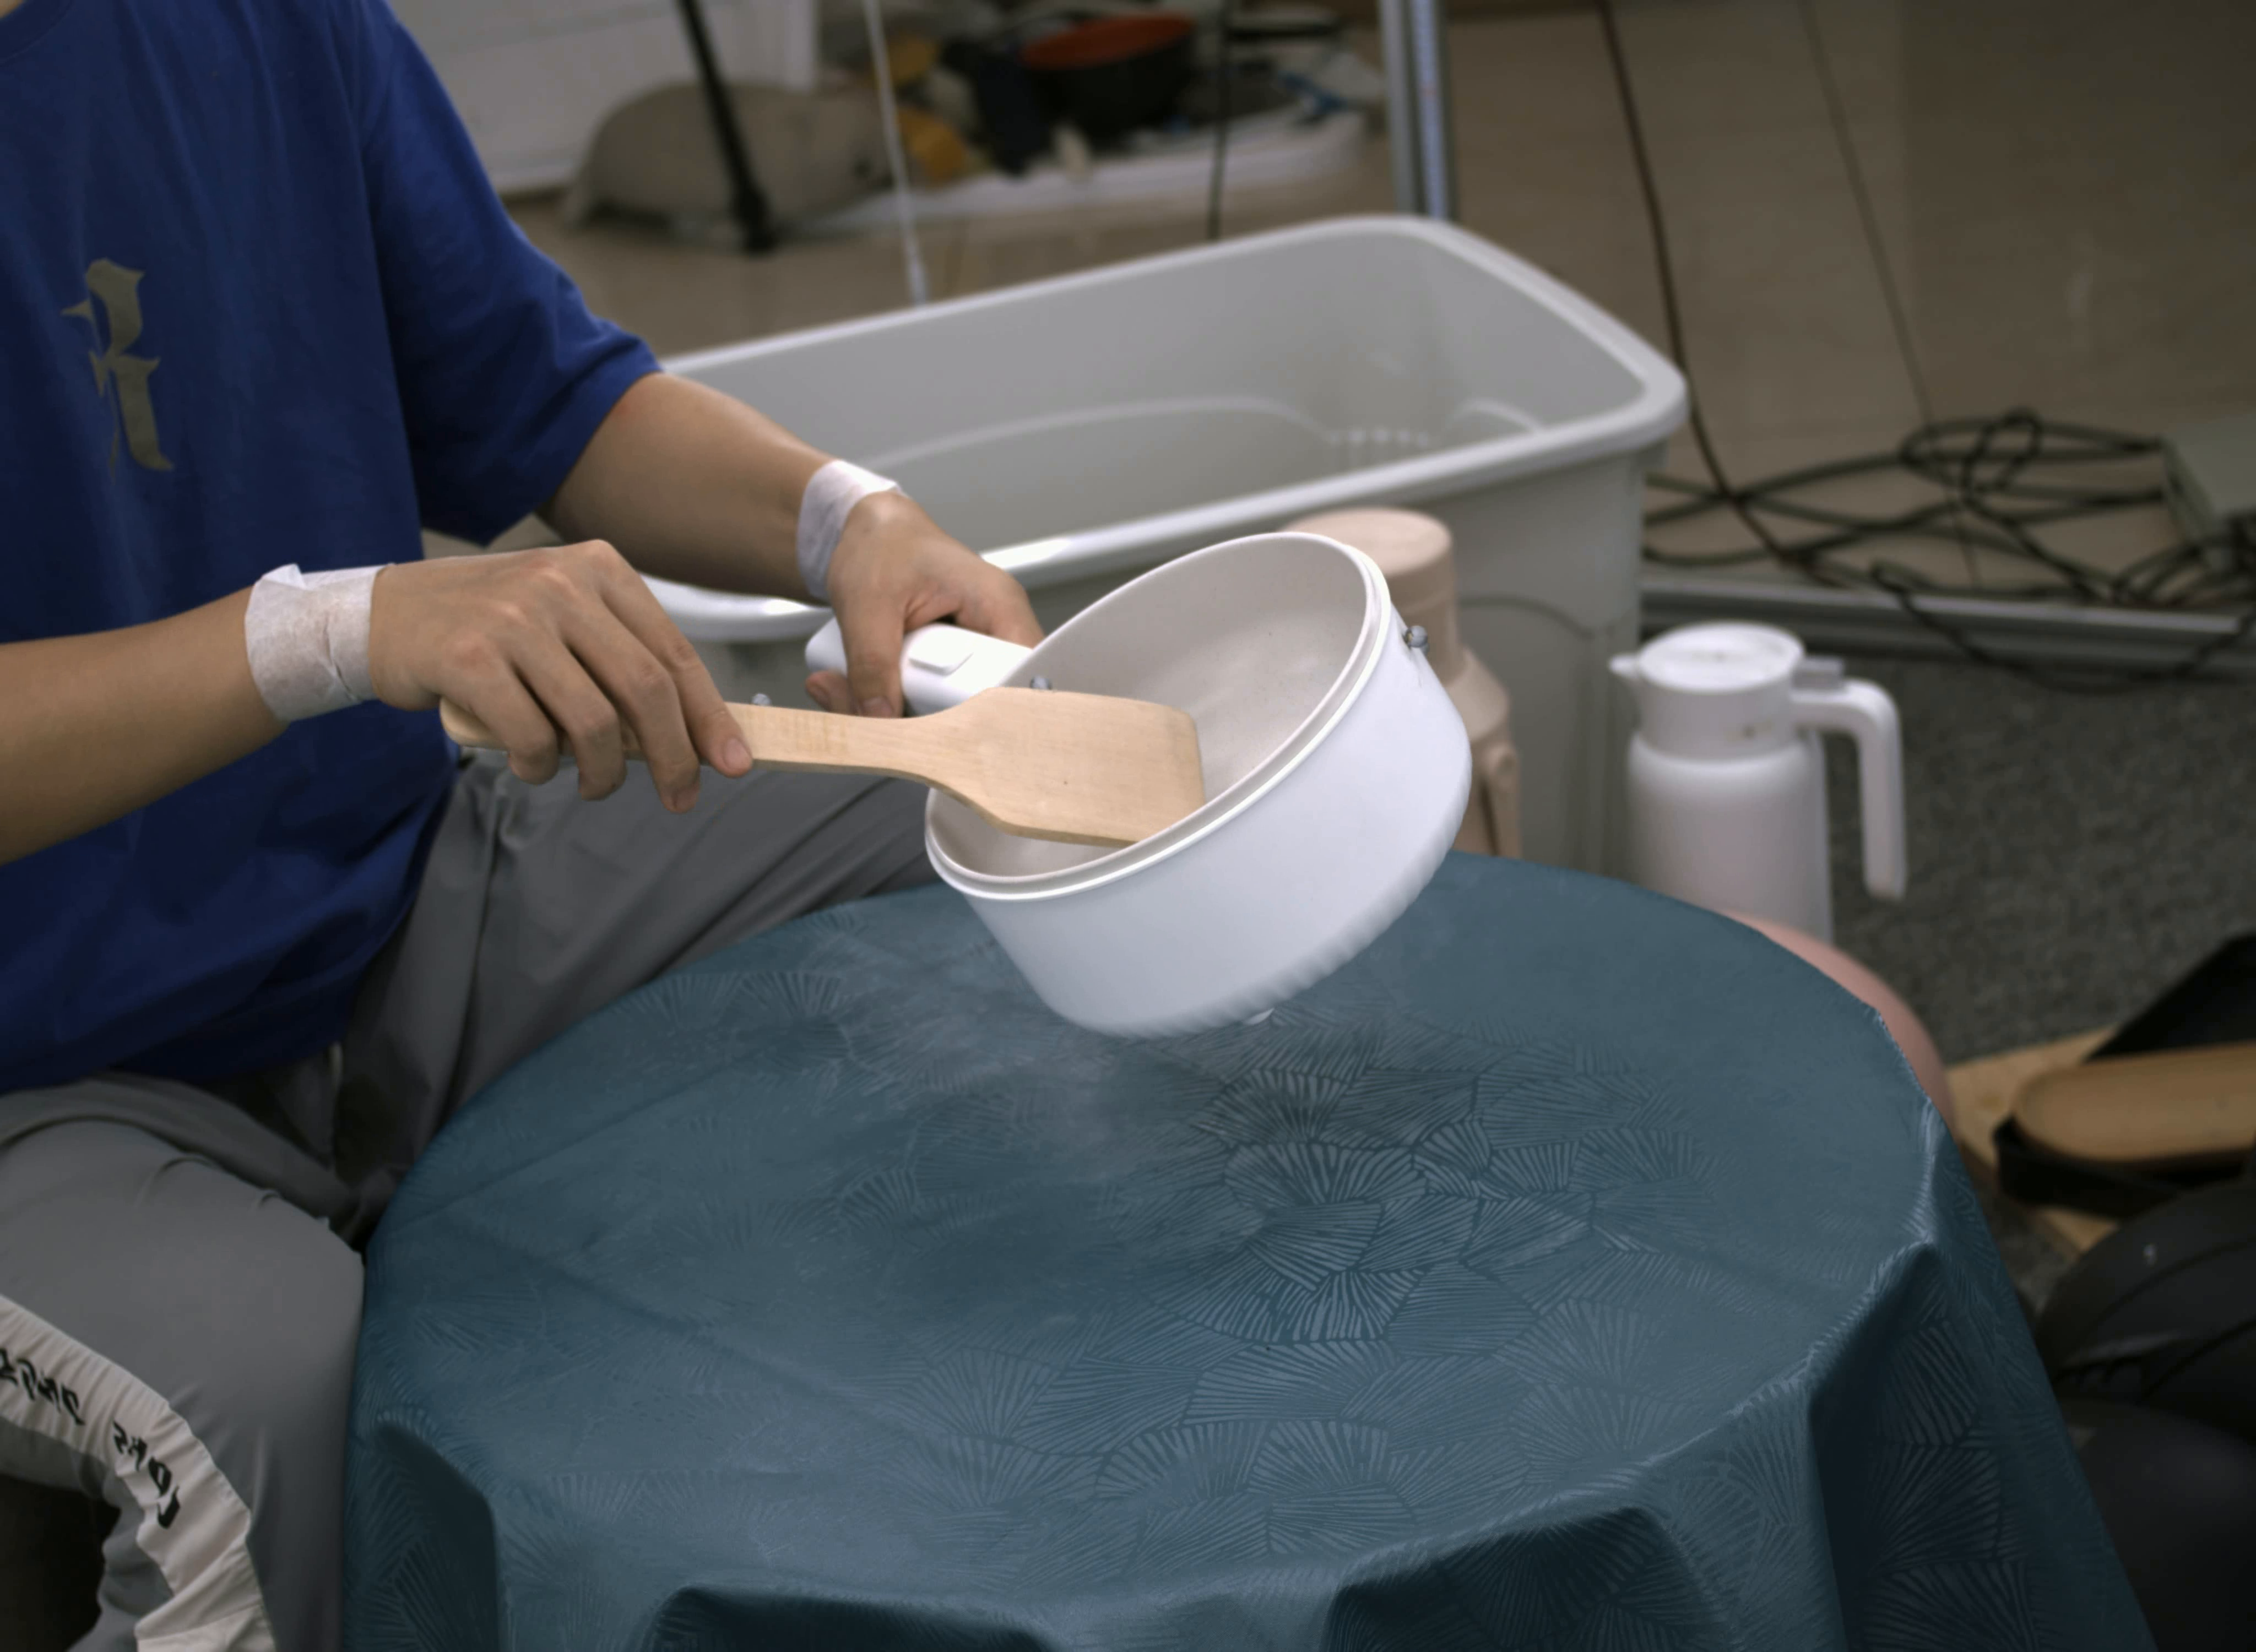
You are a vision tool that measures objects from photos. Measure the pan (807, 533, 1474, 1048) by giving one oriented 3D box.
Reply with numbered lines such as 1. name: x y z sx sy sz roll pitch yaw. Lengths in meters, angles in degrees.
1. pan: -0.008 -0.021 2.210 0.200 0.103 0.352 -46 30 -16

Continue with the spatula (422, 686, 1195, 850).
1. spatula: -0.117 -0.030 2.111 0.293 0.011 0.071 5 55 -13
